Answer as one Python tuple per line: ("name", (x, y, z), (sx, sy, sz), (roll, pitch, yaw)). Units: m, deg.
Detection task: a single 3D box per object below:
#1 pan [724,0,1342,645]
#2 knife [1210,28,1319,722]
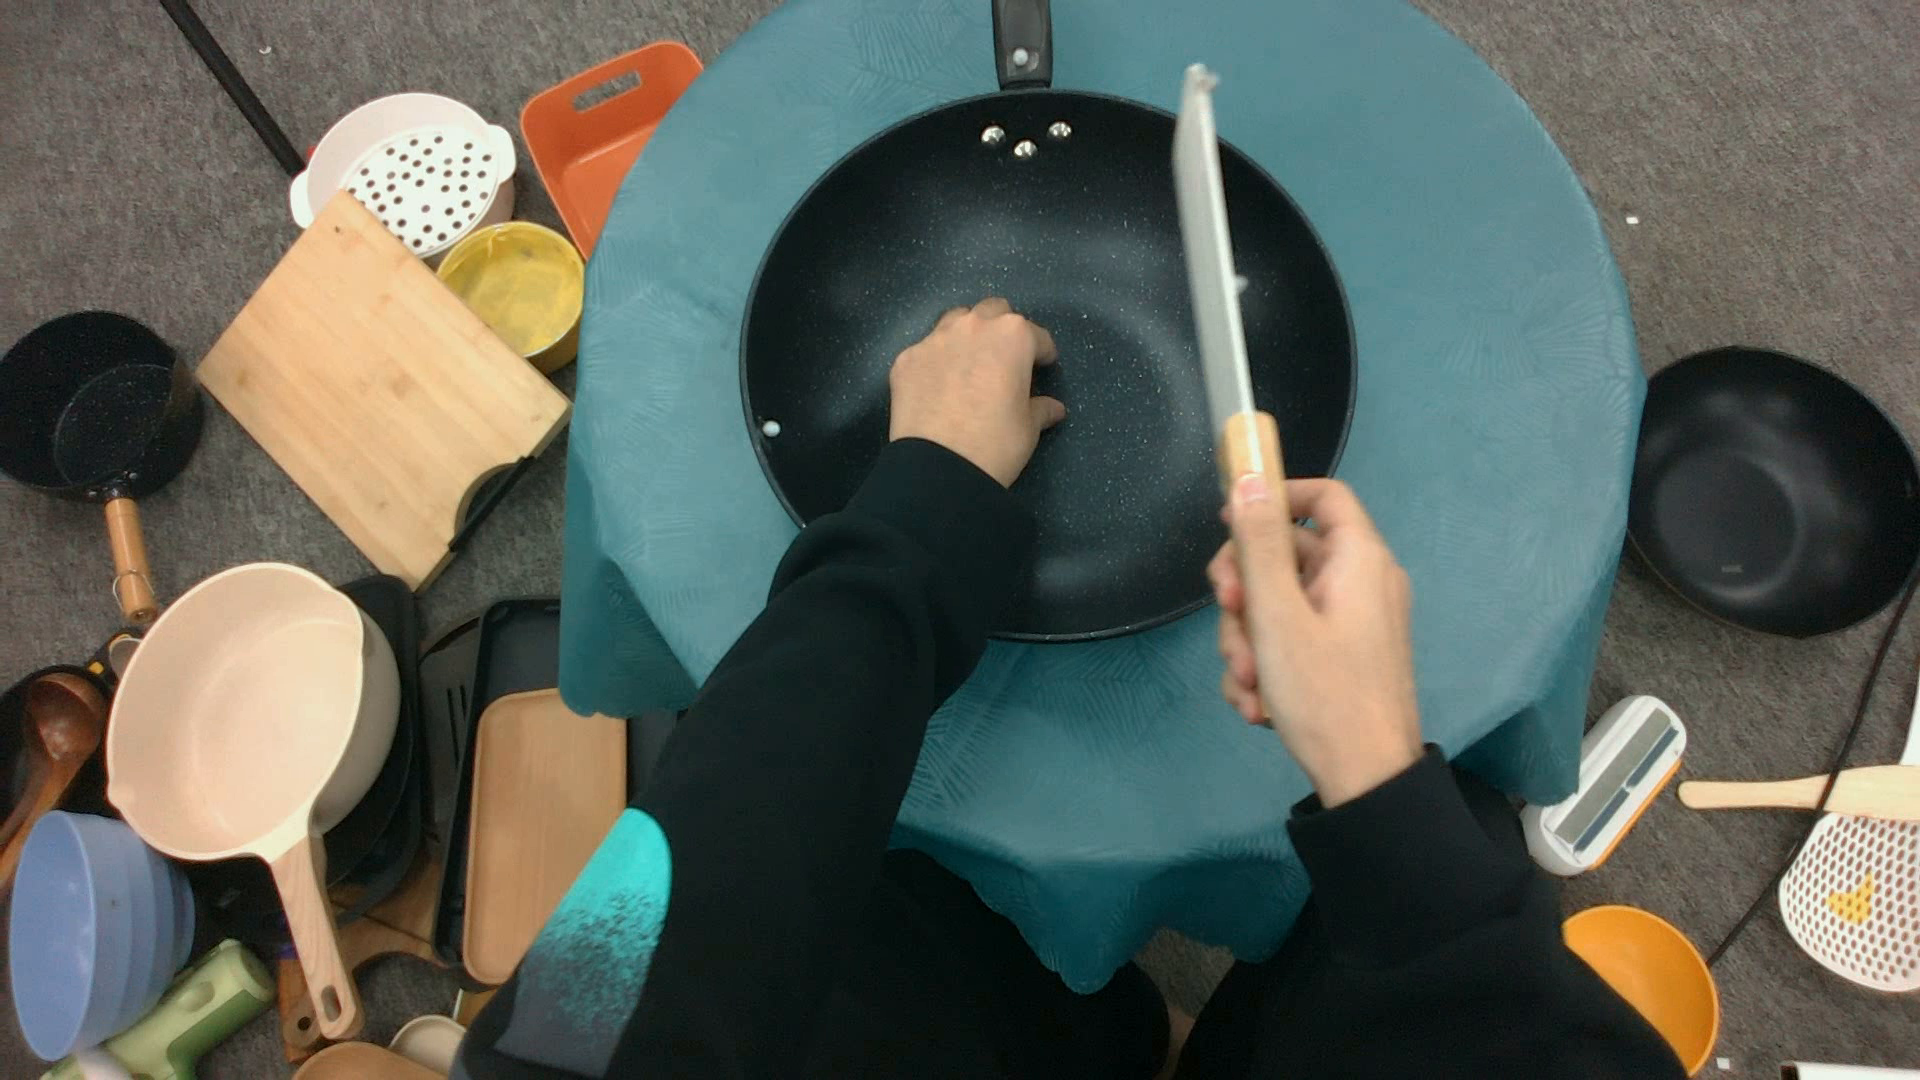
("pan", (0.031, -0.167, 0.744), (0.310, 0.111, 0.478), (-4, 70, -2))
("knife", (0.126, -0.077, 0.597), (0.022, 0.113, 0.316), (-3, 70, 3))
